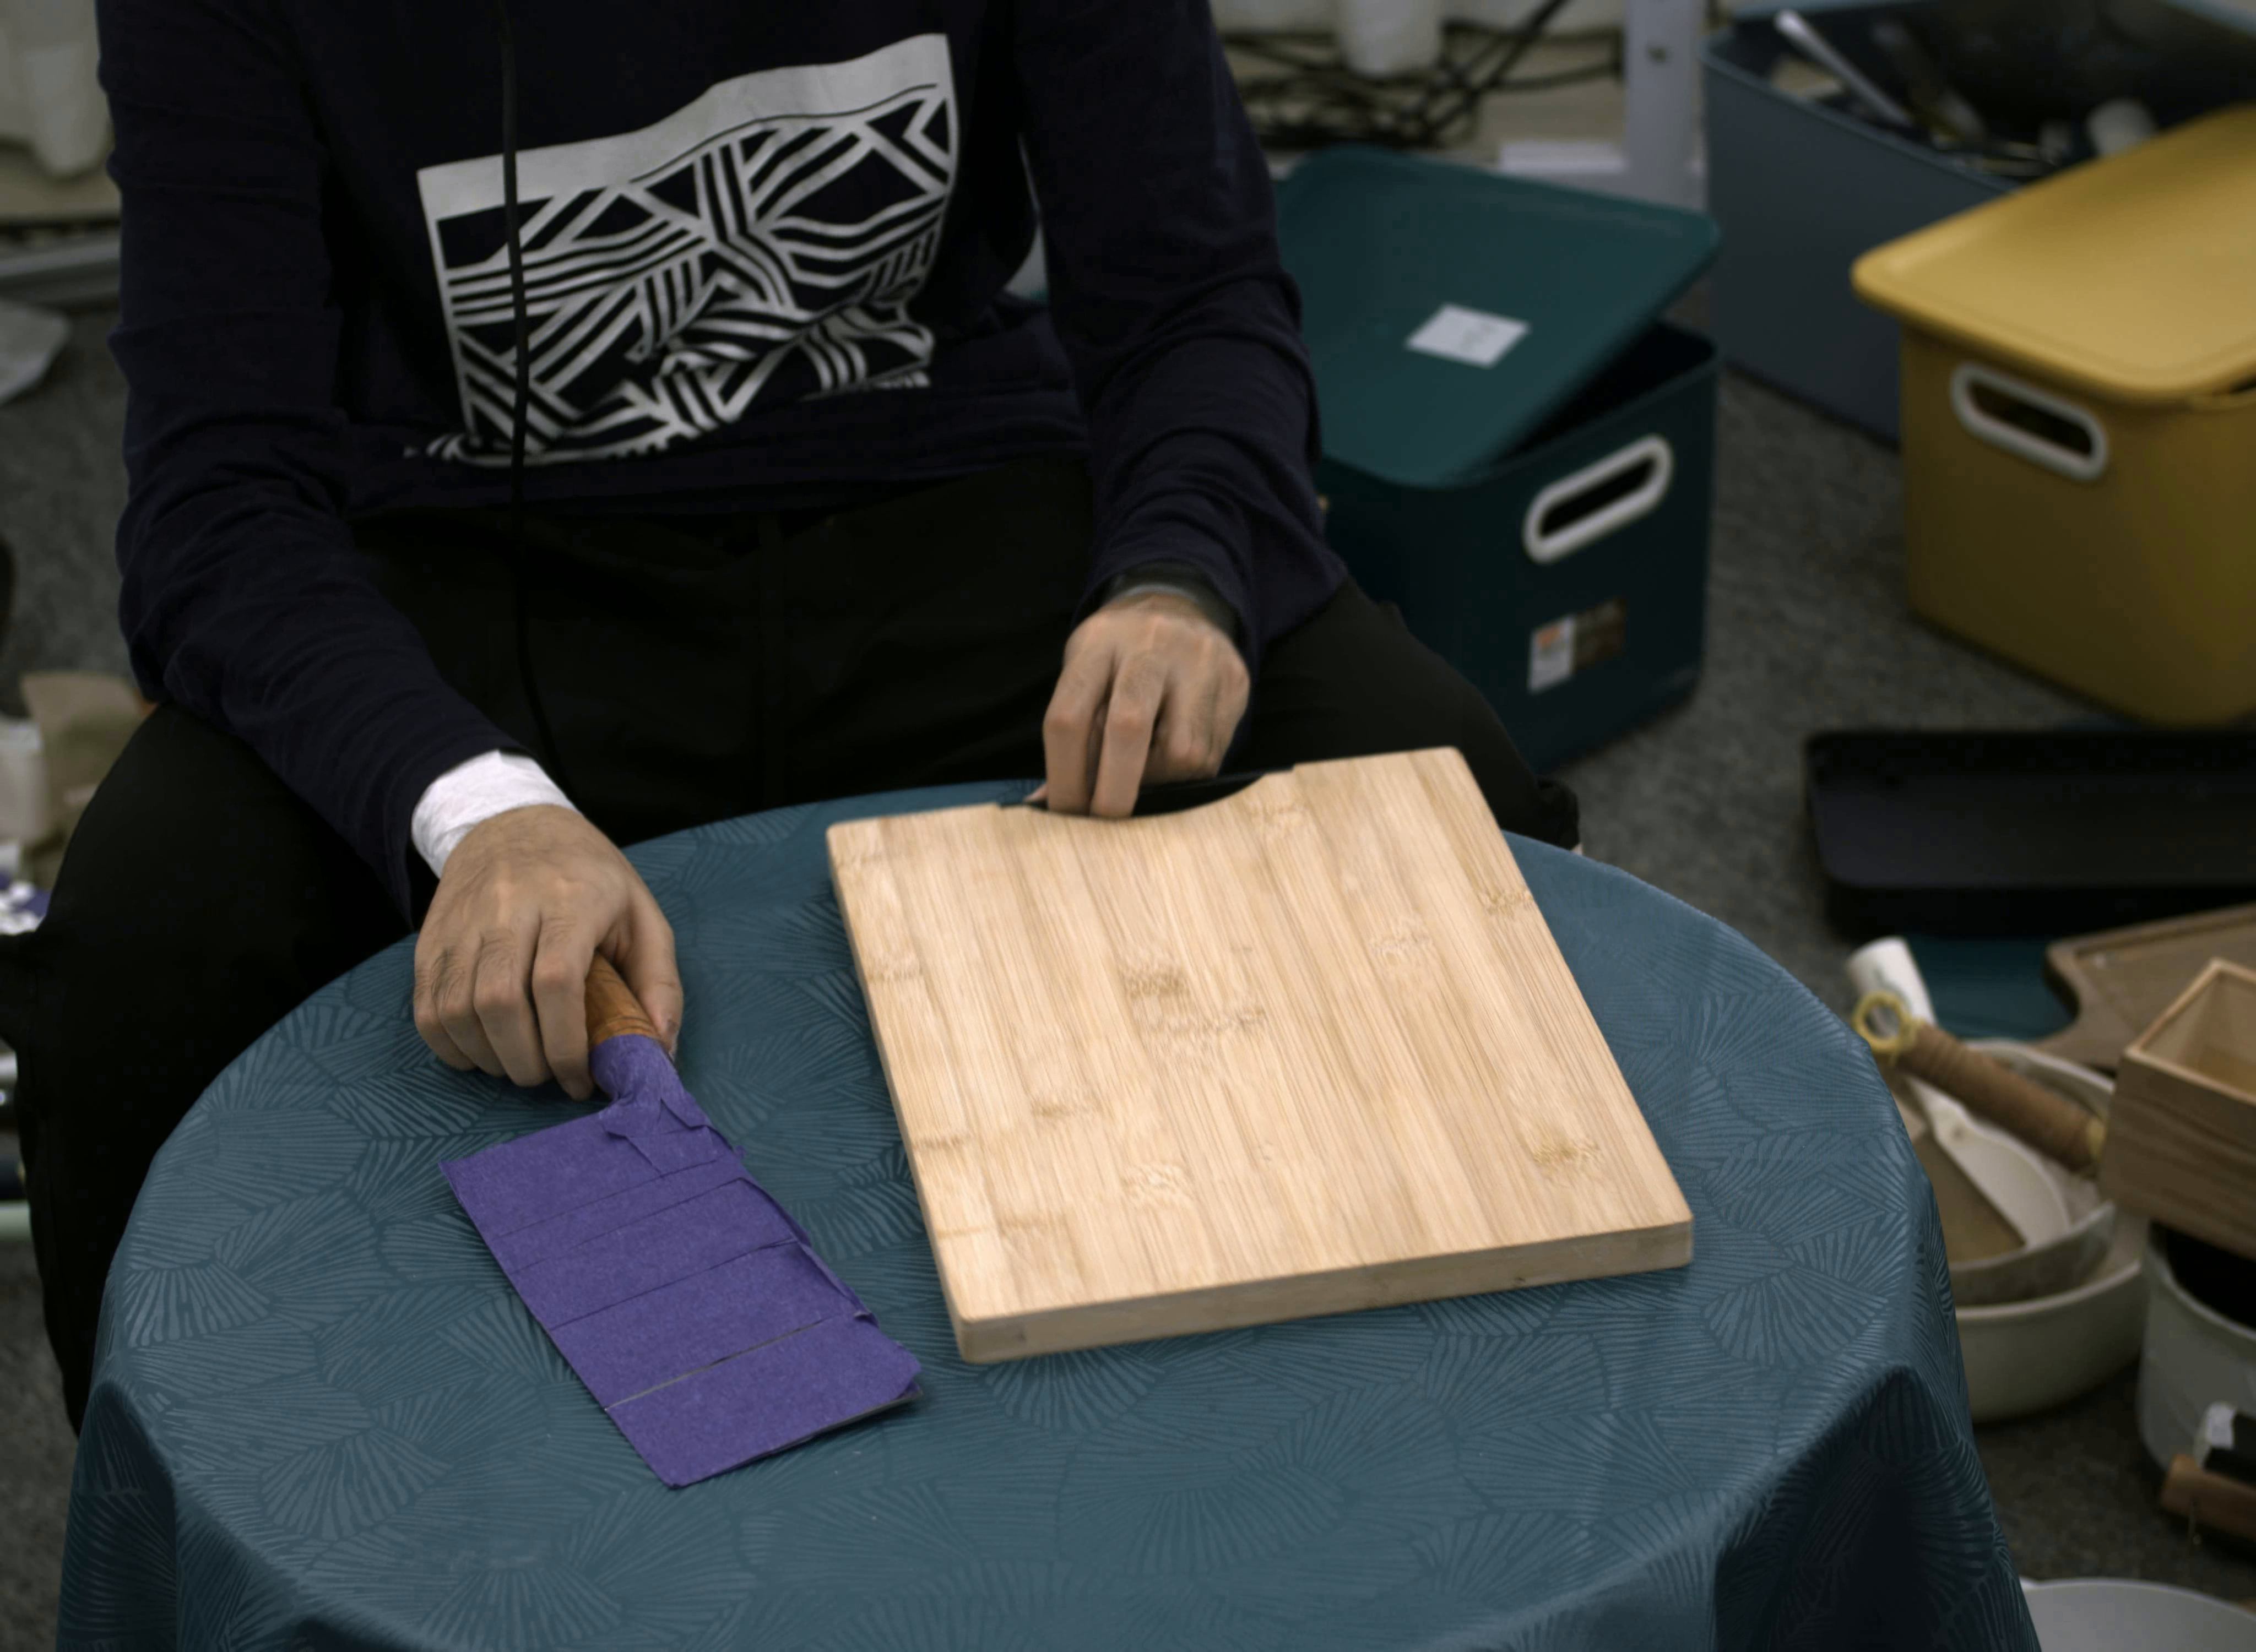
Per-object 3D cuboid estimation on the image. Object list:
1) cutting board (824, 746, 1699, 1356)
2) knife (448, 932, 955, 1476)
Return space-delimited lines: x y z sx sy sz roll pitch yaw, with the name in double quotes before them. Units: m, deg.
"cutting board" 0.036 0.071 1.936 0.250 0.023 0.353 -7 28 -9
"knife" -0.168 0.120 1.851 0.104 0.032 0.317 -17 30 -21
